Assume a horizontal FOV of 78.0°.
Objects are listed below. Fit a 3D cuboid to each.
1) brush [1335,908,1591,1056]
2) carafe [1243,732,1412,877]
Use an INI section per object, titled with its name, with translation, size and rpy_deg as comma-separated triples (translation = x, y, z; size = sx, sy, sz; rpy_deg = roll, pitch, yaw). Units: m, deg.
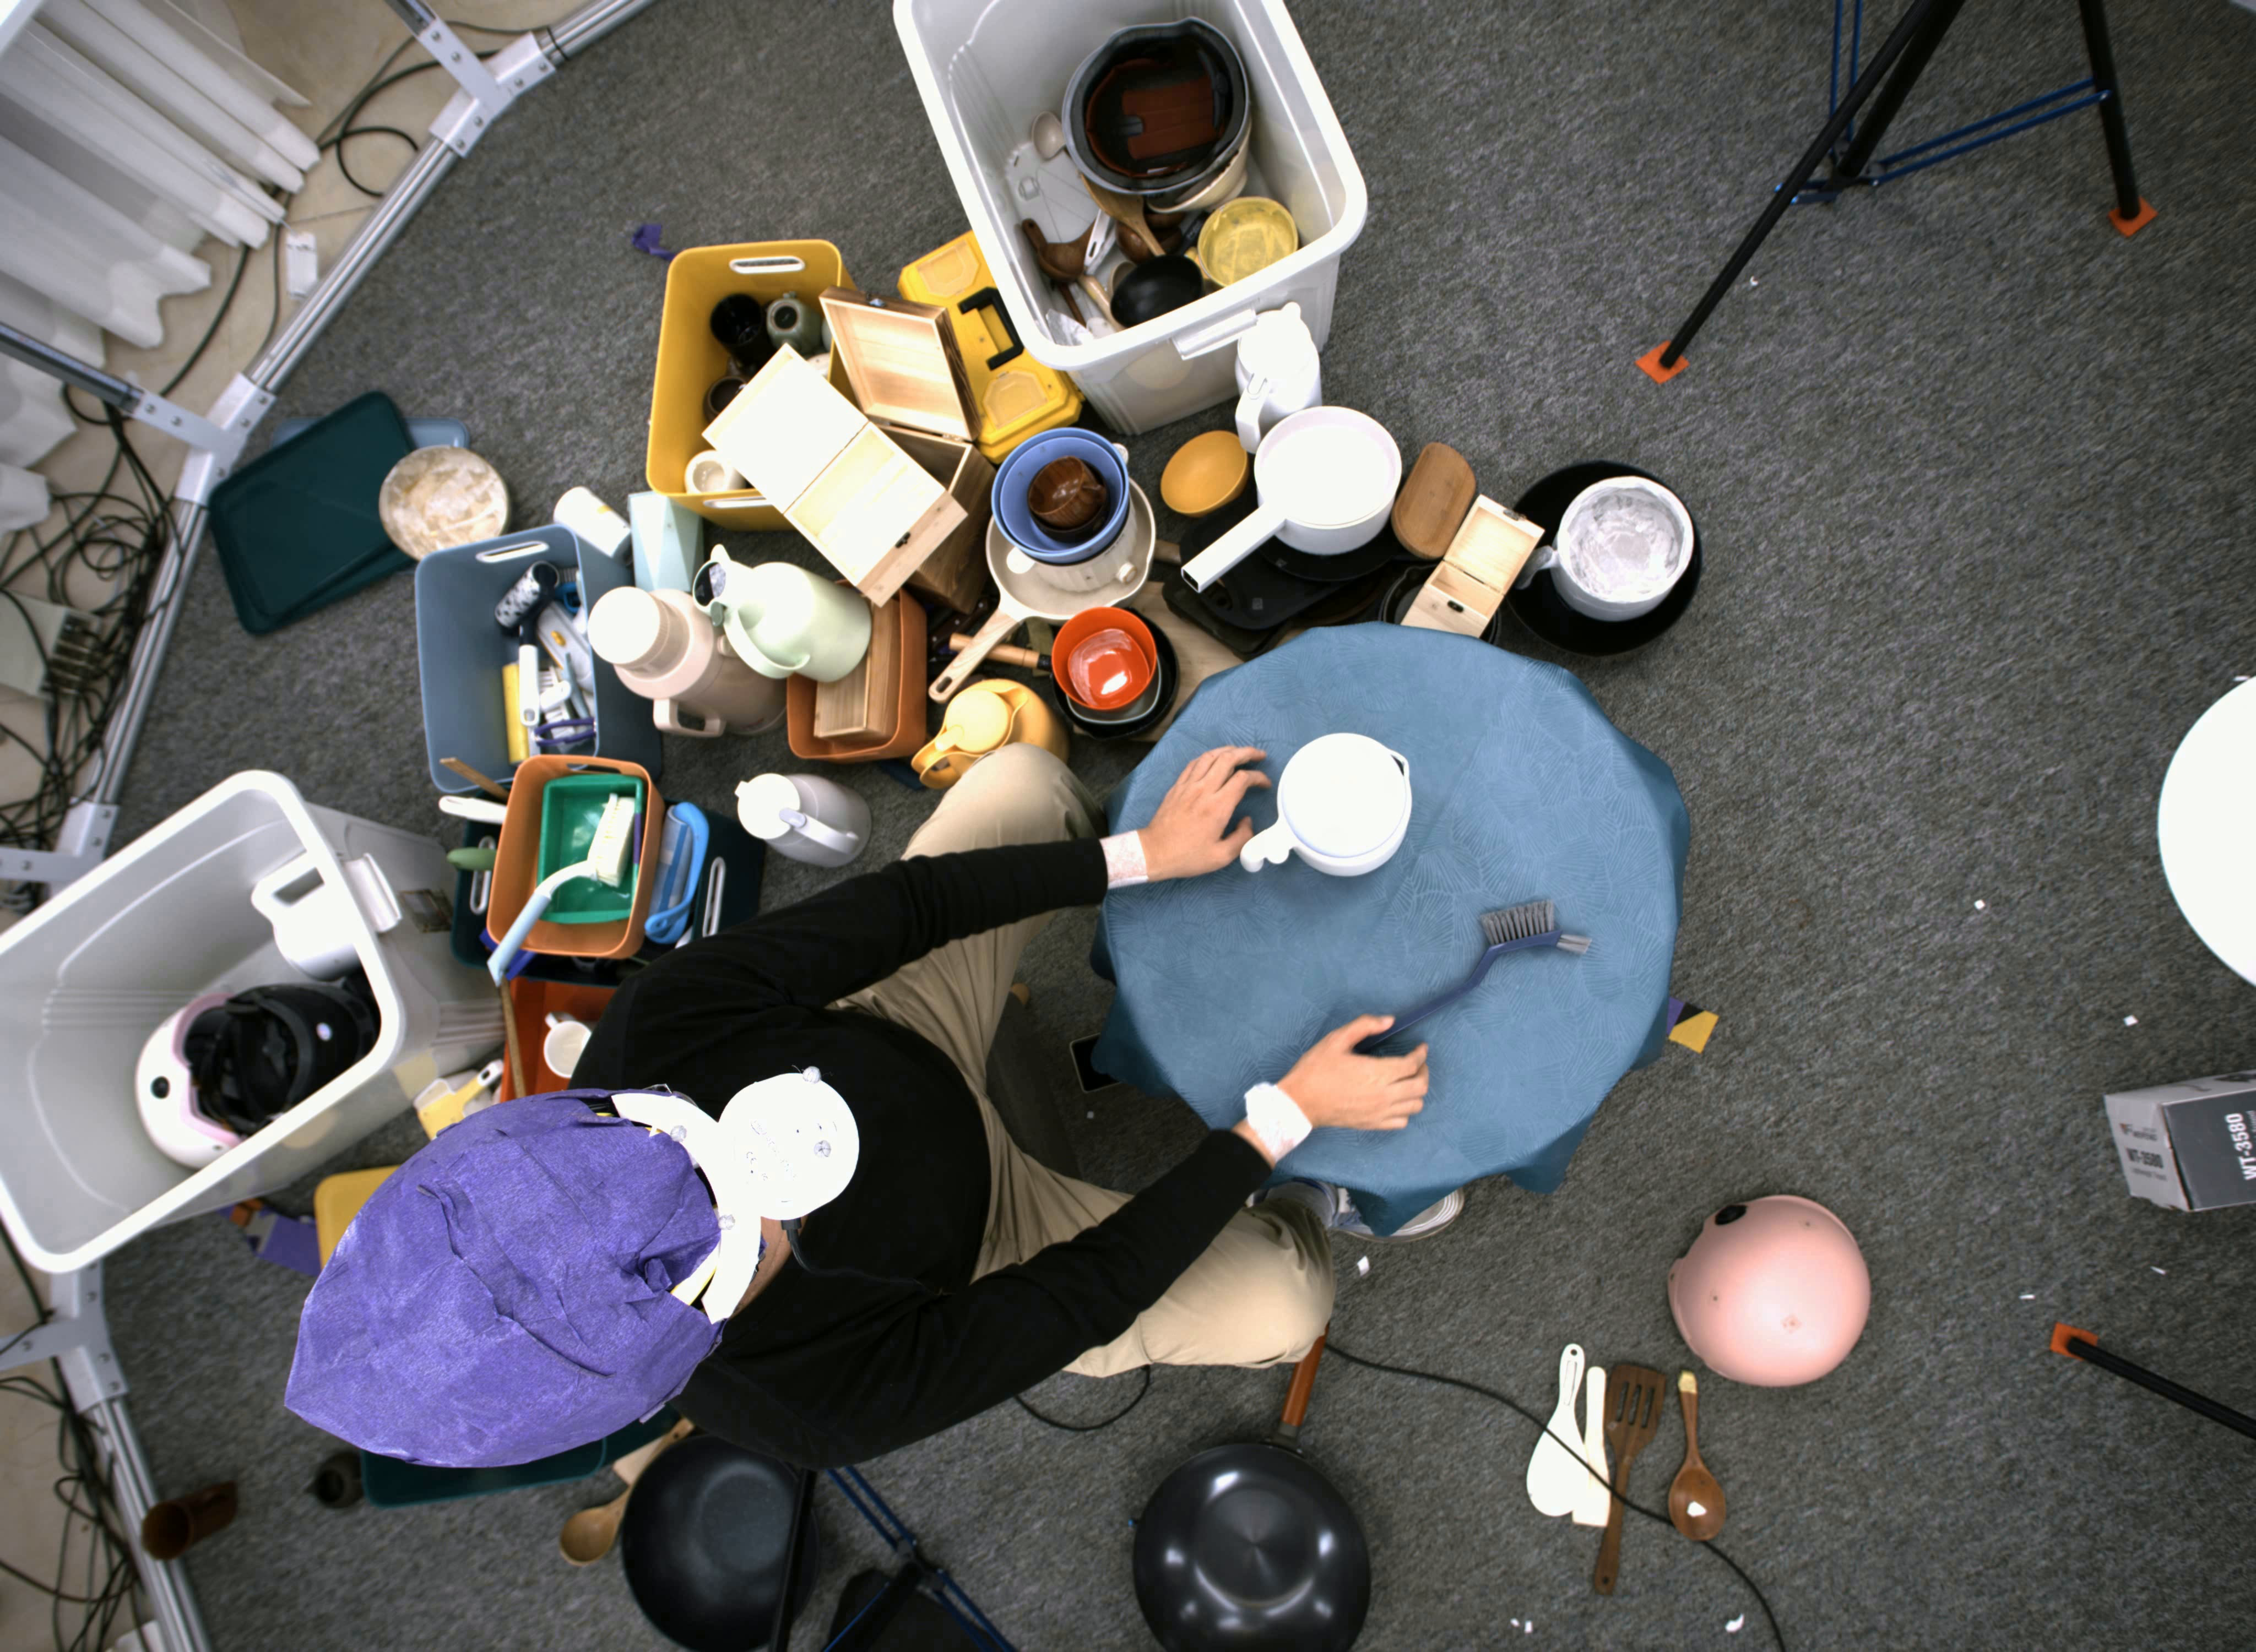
[brush]
translation = 0.341, 0.176, 1.426
size = 0.274, 0.033, 0.095
rpy_deg = -38, 83, 6
[carafe]
translation = 0.196, -0.008, 1.391
size = 0.192, 0.182, 0.131
rpy_deg = -32, 80, 7
